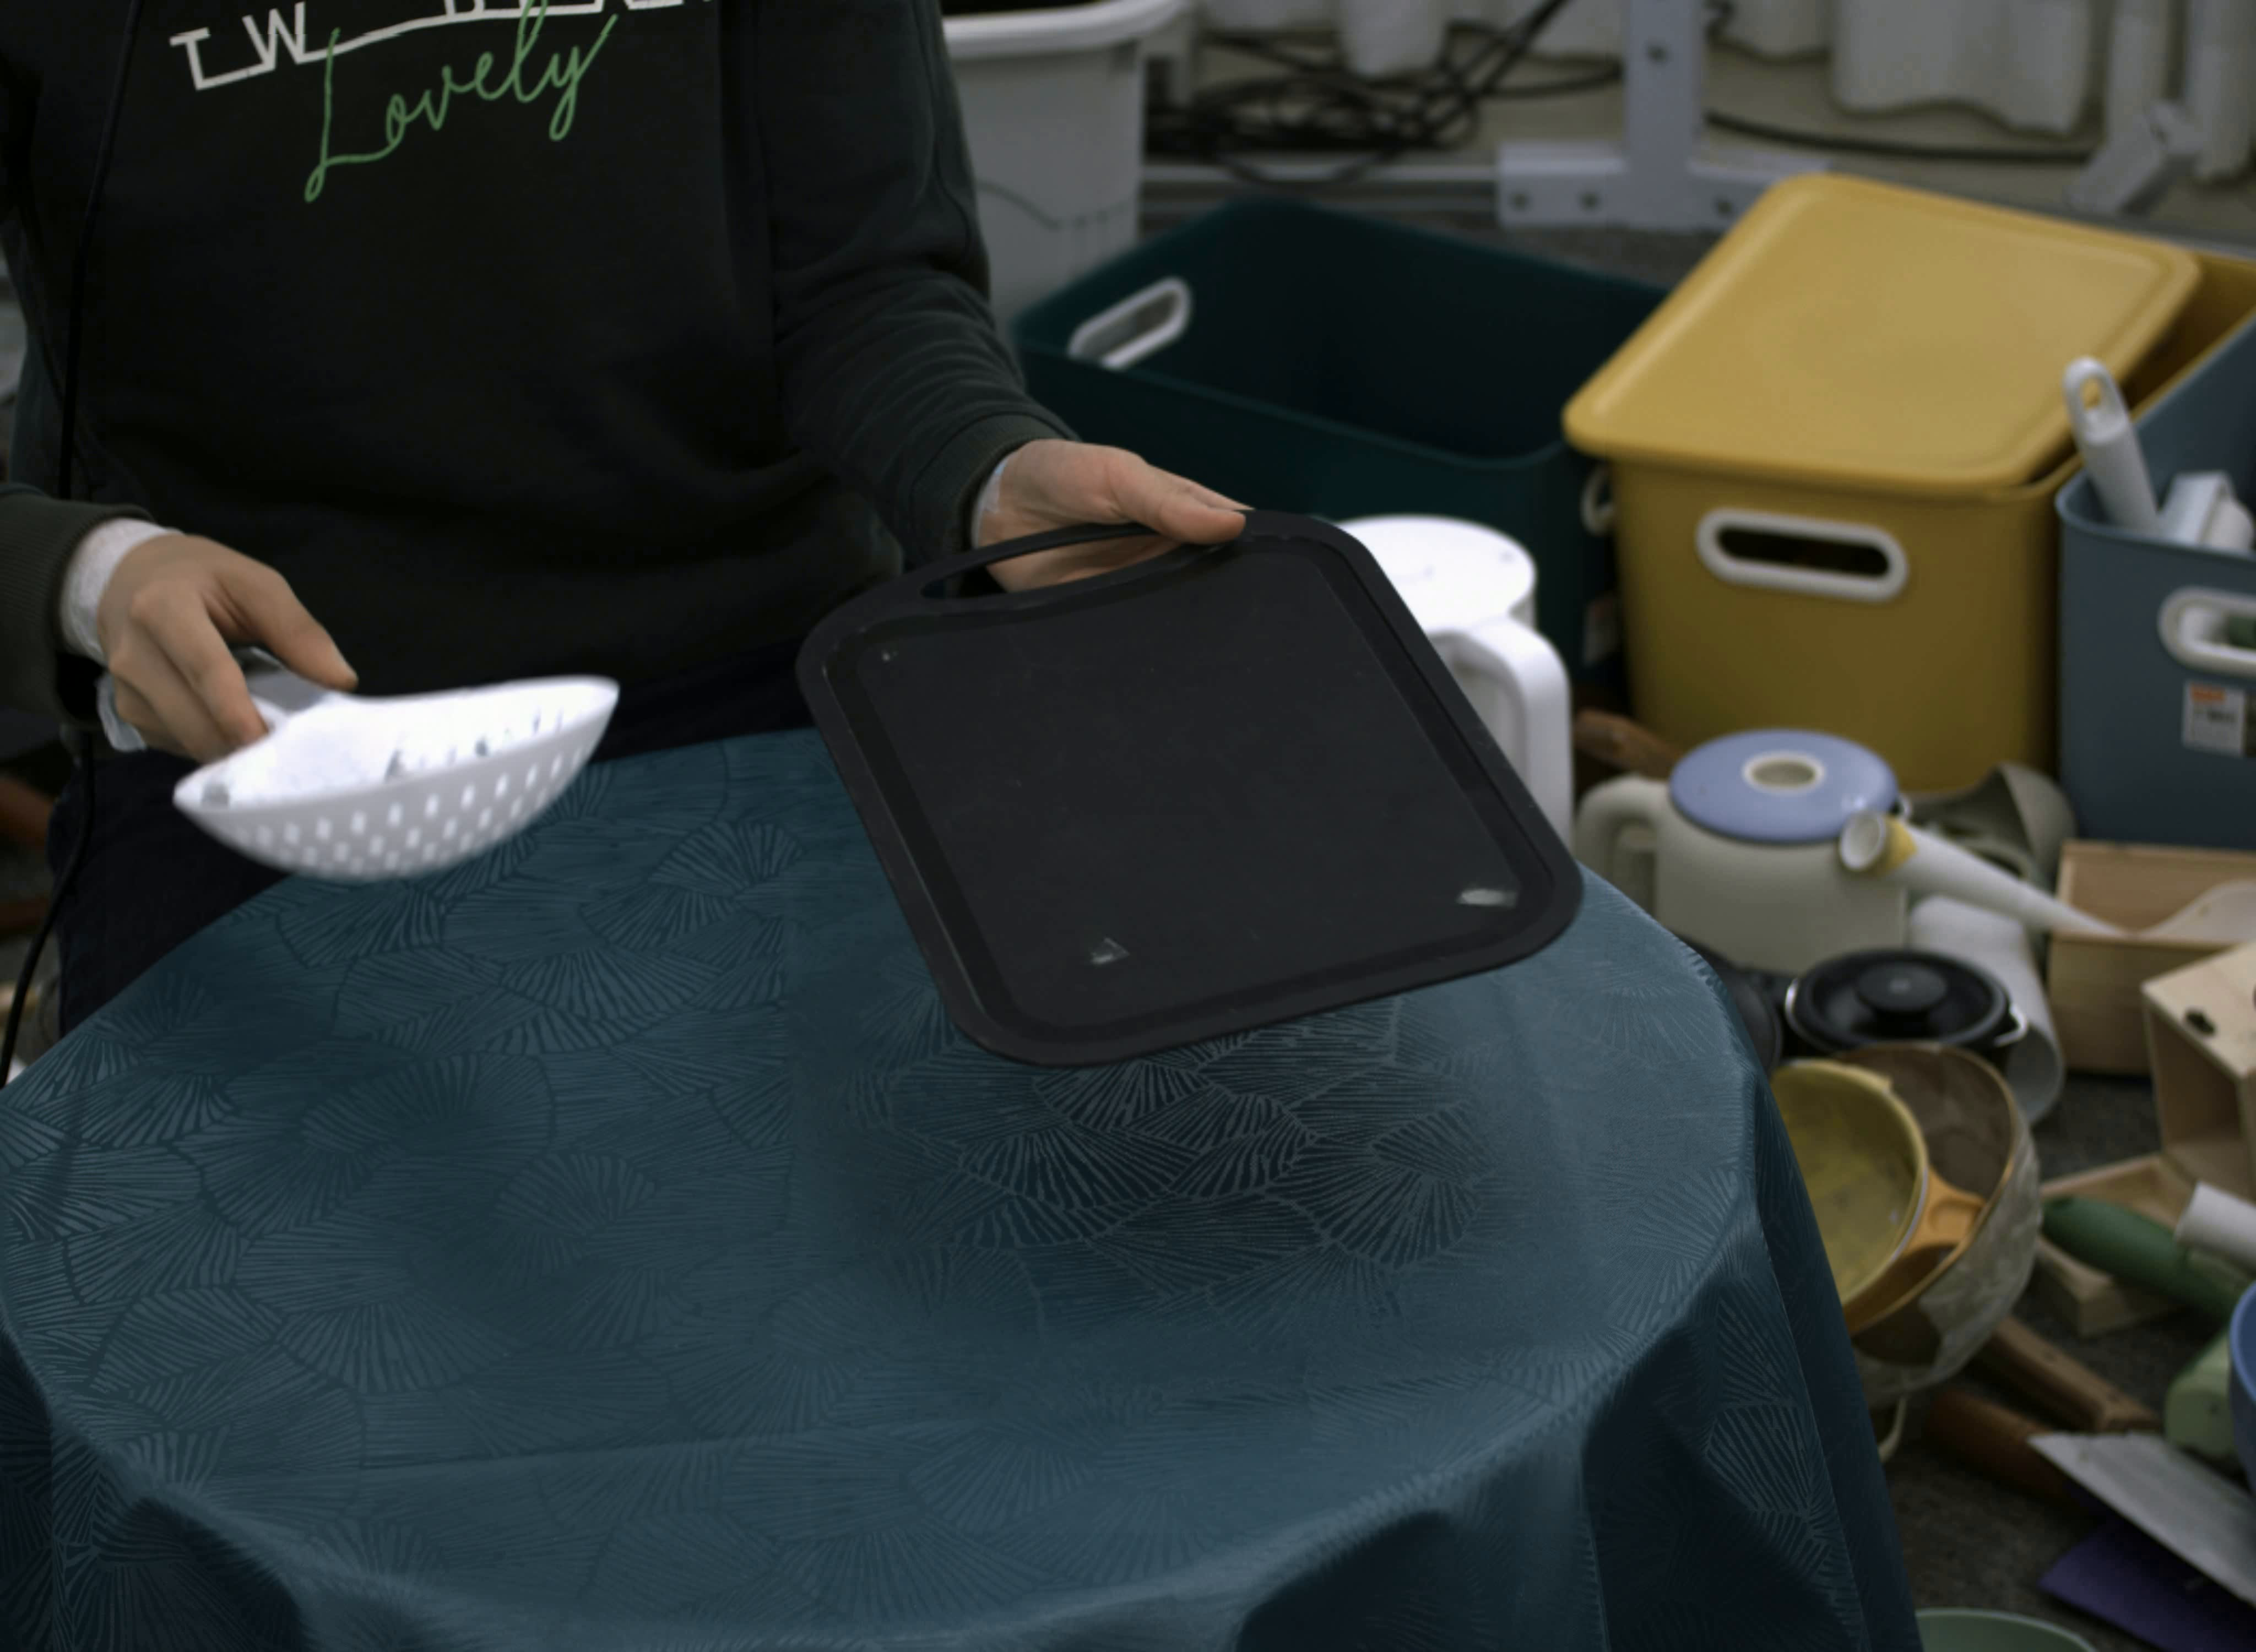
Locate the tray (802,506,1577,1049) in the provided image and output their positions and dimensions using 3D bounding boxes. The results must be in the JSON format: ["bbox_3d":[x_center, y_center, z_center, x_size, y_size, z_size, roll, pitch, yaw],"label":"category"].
[{"bbox_3d":[0.011,-0.026,1.885,0.211,0.009,0.329,-12,33,-10],"label":"tray"}]

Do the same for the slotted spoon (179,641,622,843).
[{"bbox_3d":[-0.255,-0.038,1.794,0.136,0.045,0.349,-14,15,-19],"label":"slotted spoon"}]
